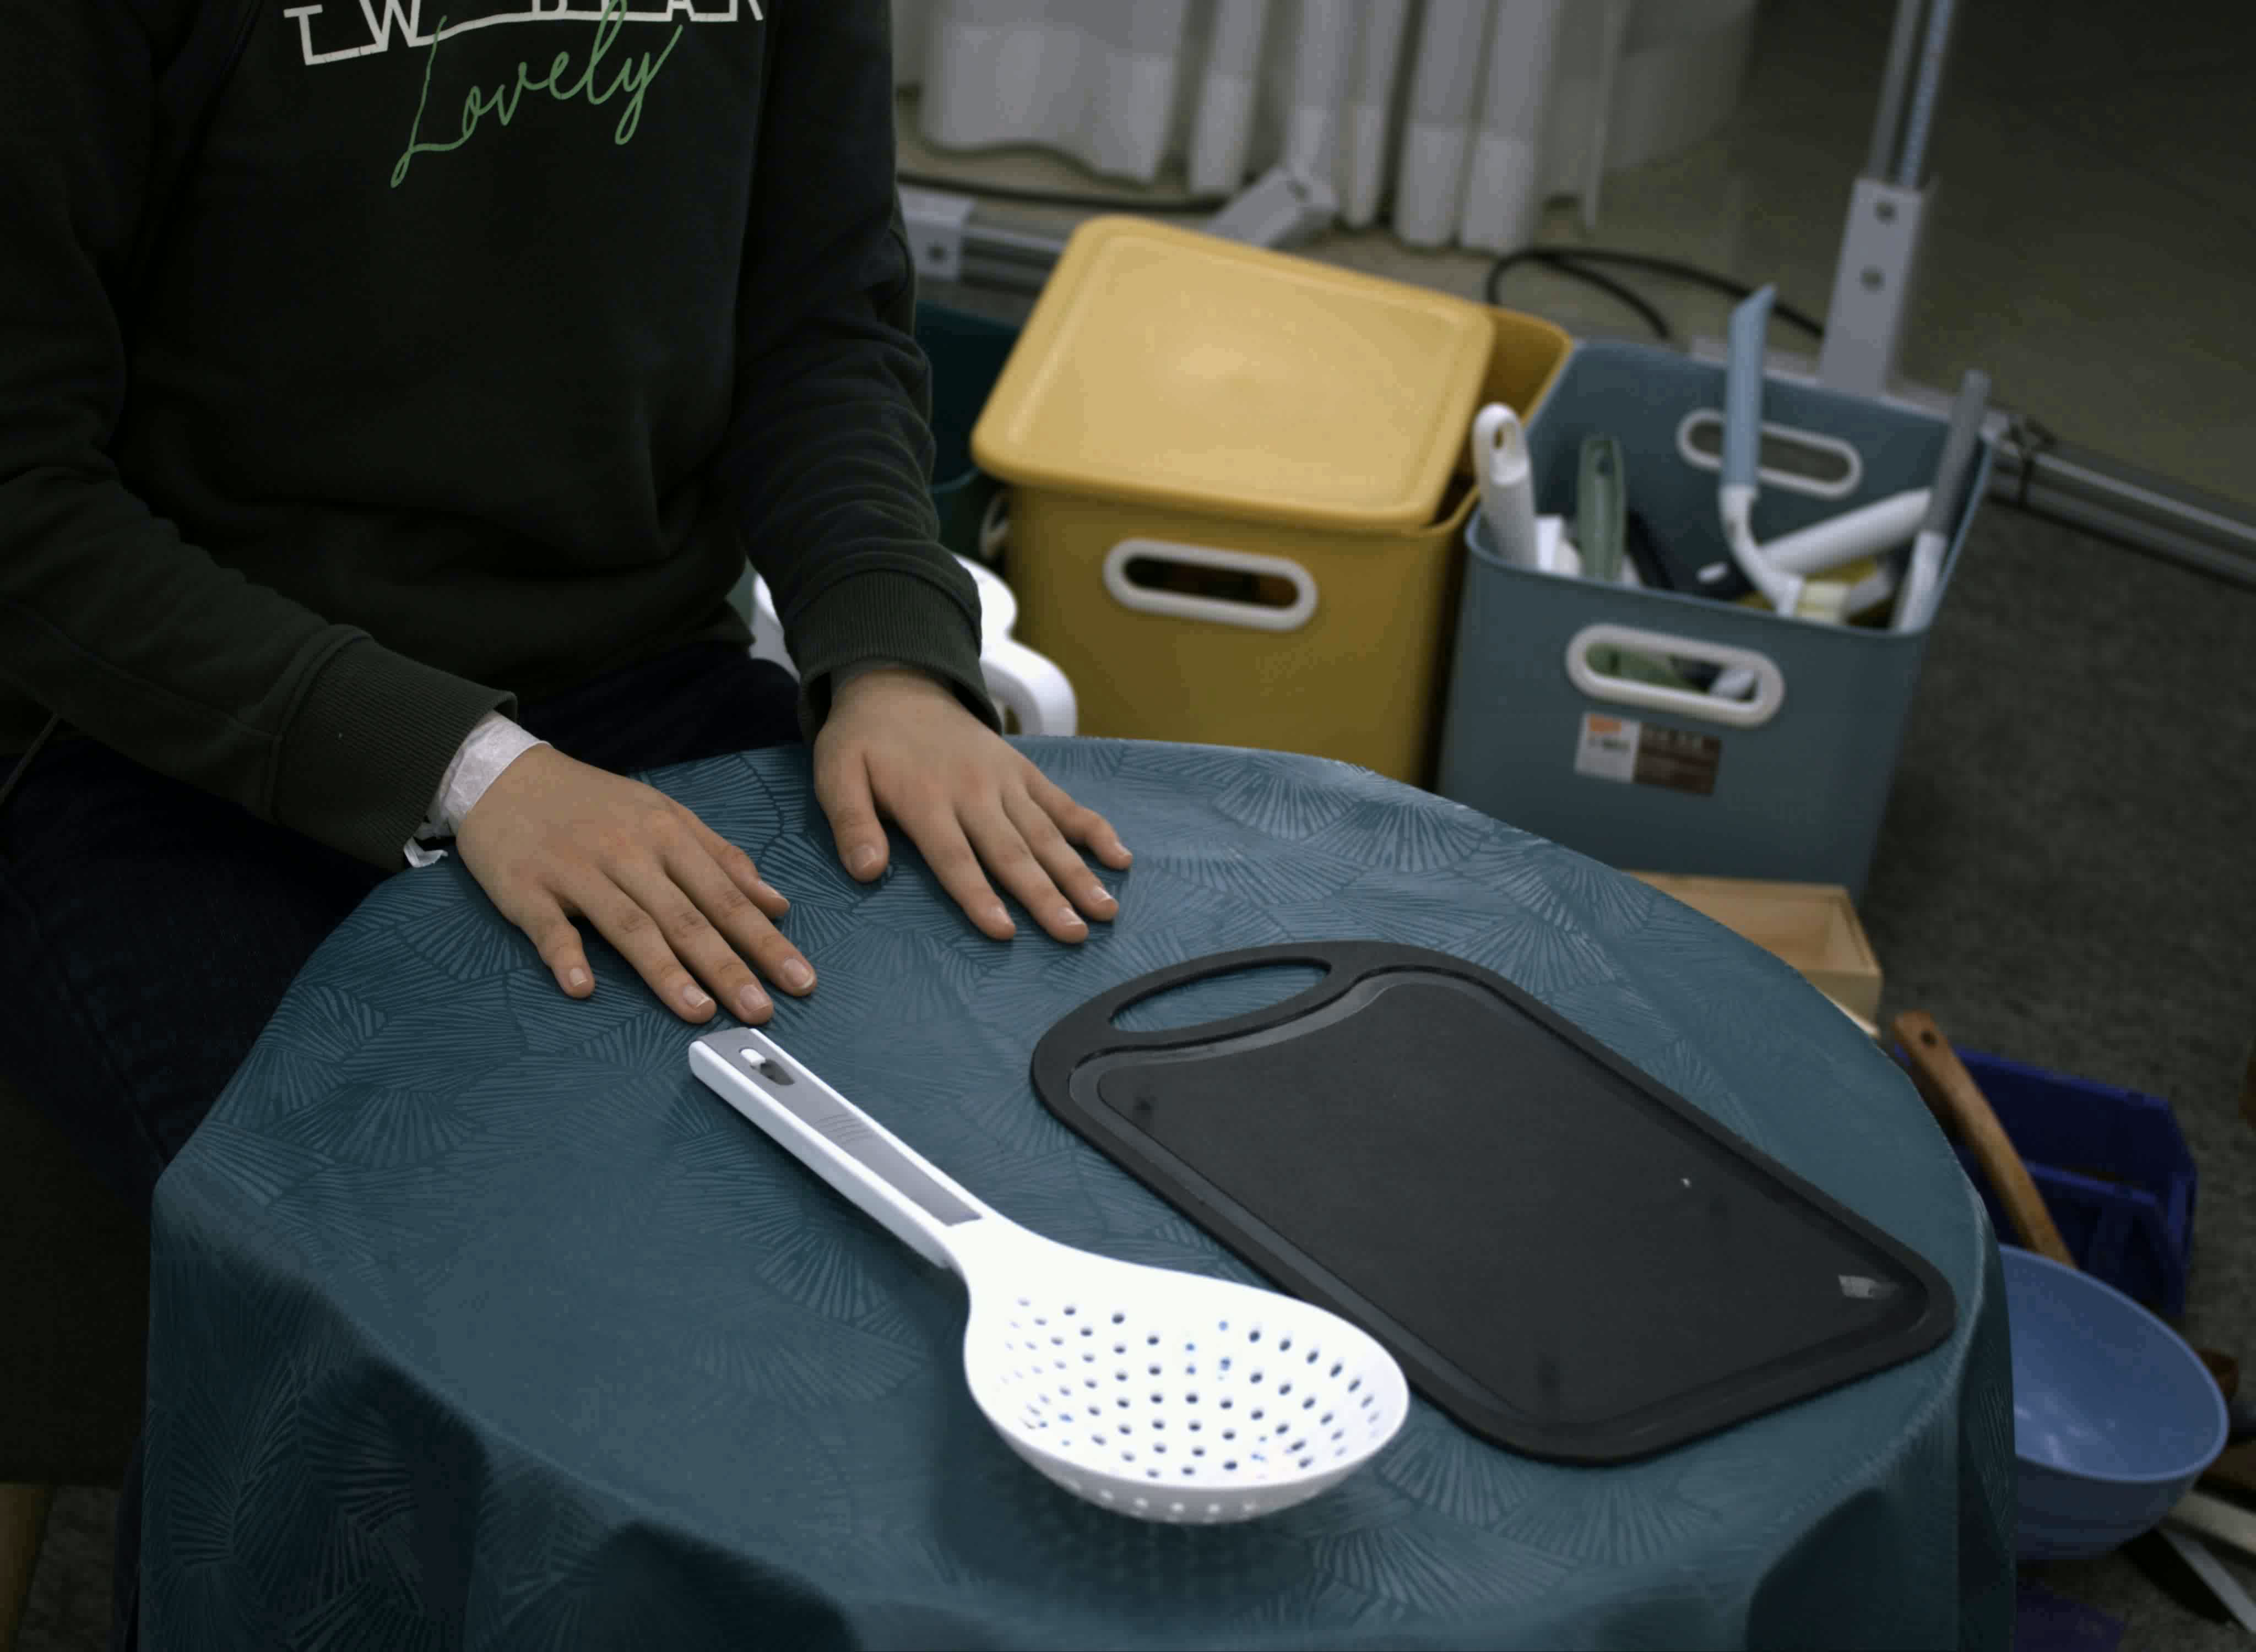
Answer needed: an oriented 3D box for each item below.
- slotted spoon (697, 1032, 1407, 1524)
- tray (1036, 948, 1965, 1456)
[{"bbox_3d":[-0.043,0.139,1.710,0.135,0.045,0.353,-9,30,-33],"label":"slotted spoon"},{"bbox_3d":[0.118,0.119,1.829,0.210,0.010,0.328,-14,33,-35],"label":"tray"}]
